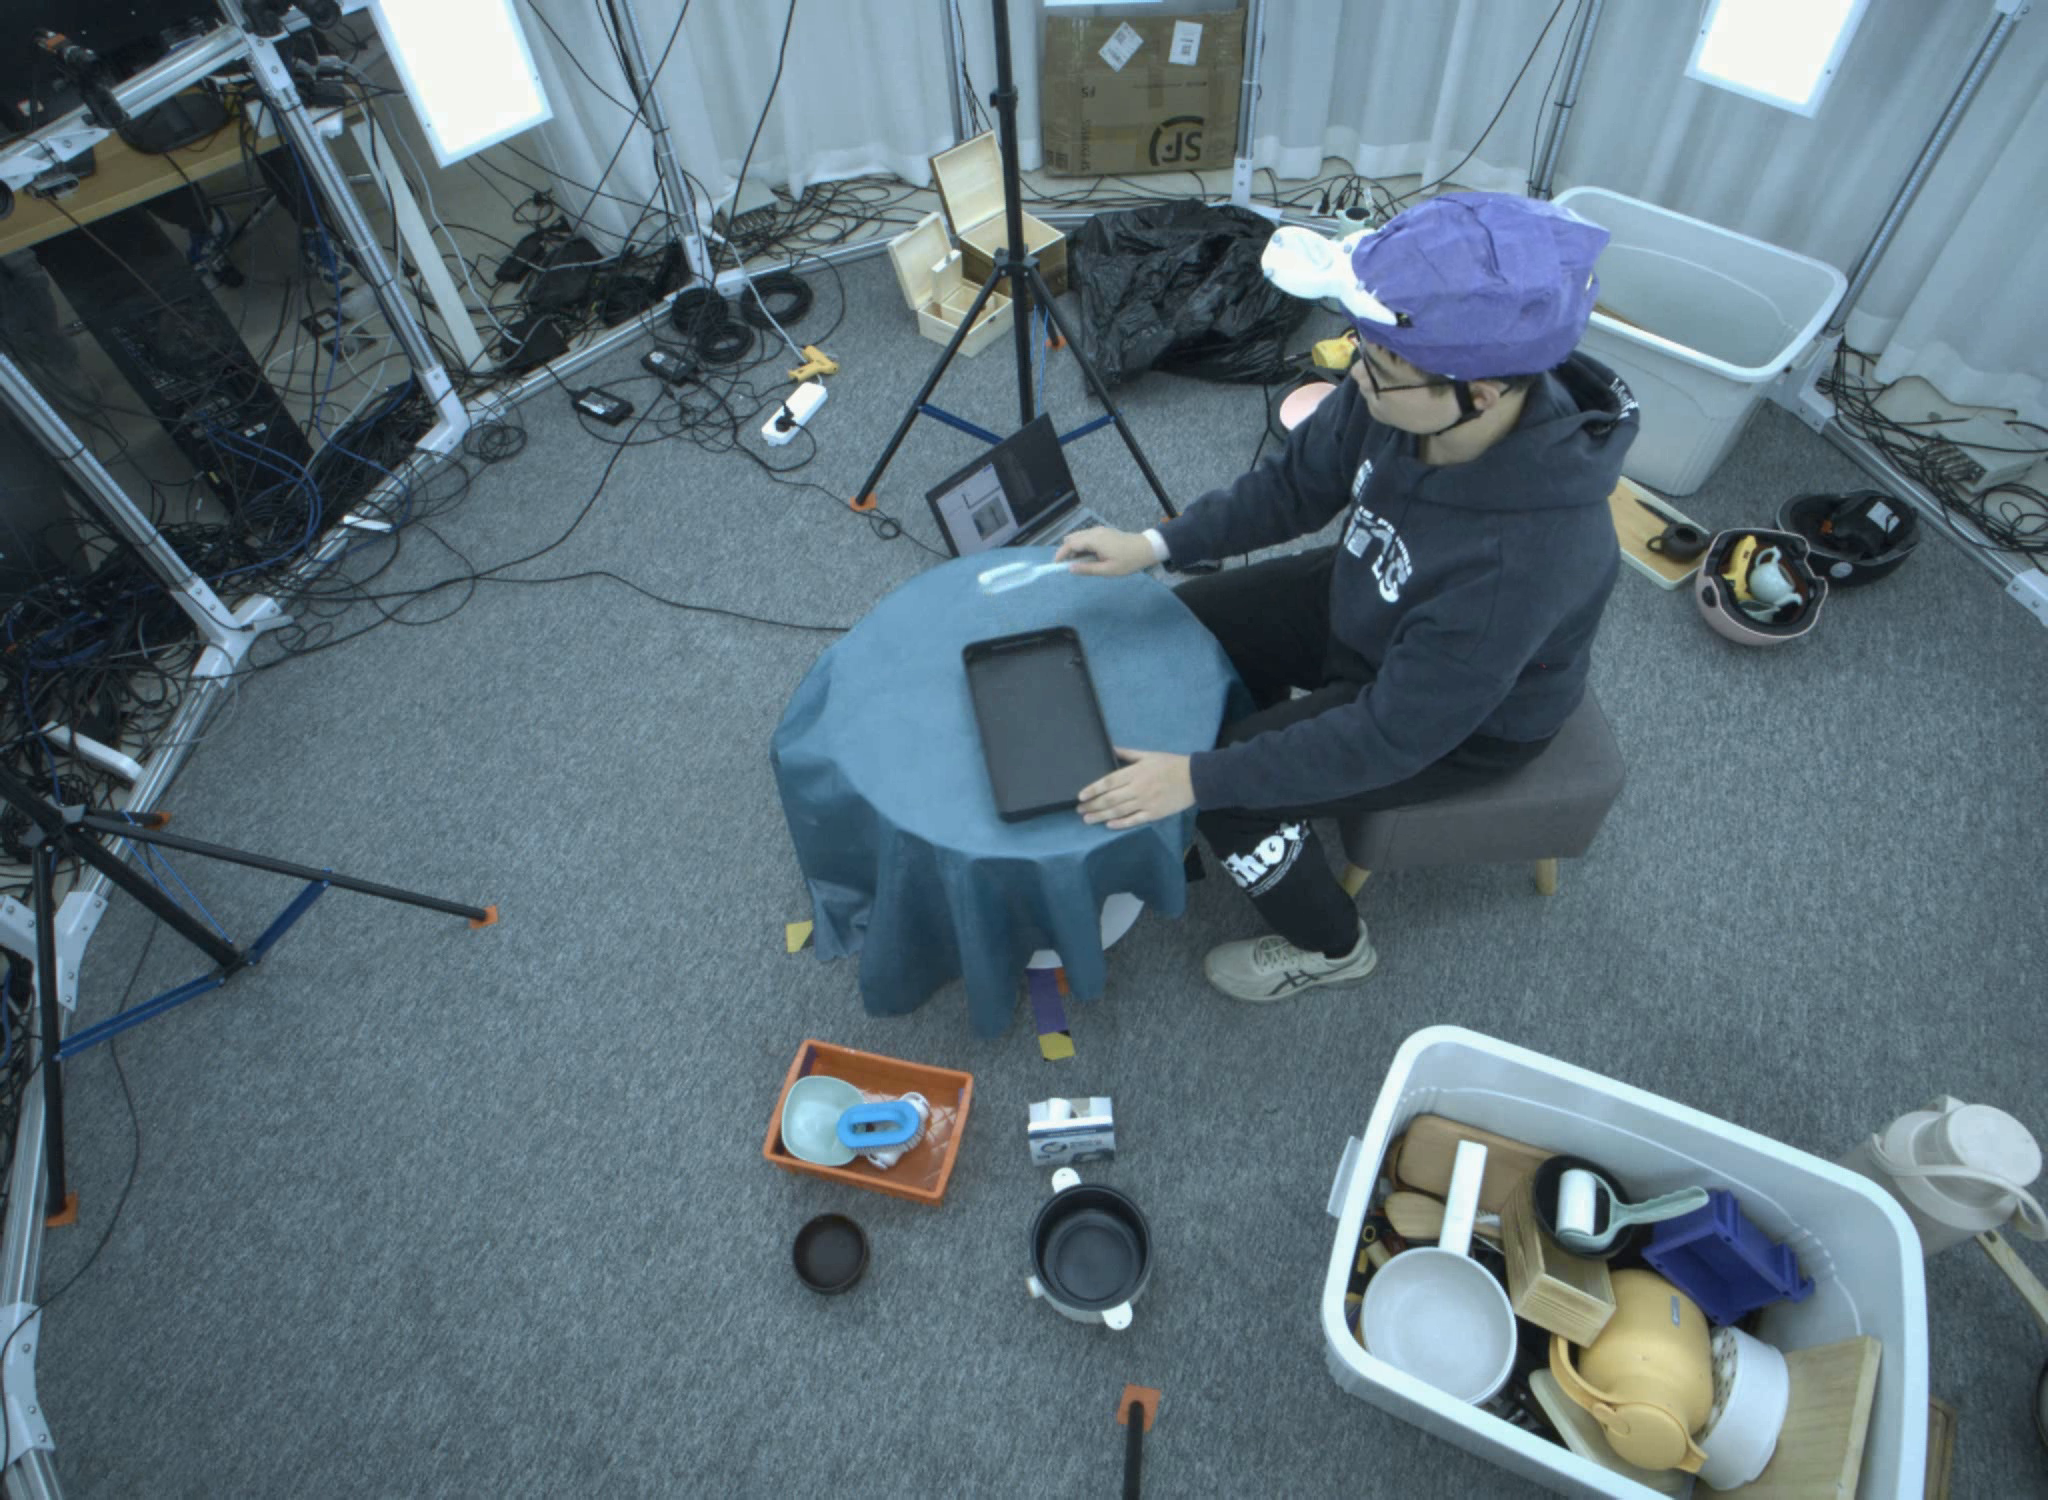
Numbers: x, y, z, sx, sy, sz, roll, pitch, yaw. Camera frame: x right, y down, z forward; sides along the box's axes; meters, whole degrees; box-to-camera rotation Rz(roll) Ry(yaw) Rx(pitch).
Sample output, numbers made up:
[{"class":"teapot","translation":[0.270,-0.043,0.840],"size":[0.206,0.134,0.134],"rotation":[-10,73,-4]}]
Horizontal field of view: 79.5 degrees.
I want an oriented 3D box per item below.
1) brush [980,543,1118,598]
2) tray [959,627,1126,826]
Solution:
[{"class":"brush","translation":[0.039,-0.277,1.861],"size":[0.231,0.038,0.049],"rotation":[-20,17,-19]},{"class":"tray","translation":[0.022,-0.039,1.793],"size":[0.185,0.037,0.313],"rotation":[-11,55,-7]}]
